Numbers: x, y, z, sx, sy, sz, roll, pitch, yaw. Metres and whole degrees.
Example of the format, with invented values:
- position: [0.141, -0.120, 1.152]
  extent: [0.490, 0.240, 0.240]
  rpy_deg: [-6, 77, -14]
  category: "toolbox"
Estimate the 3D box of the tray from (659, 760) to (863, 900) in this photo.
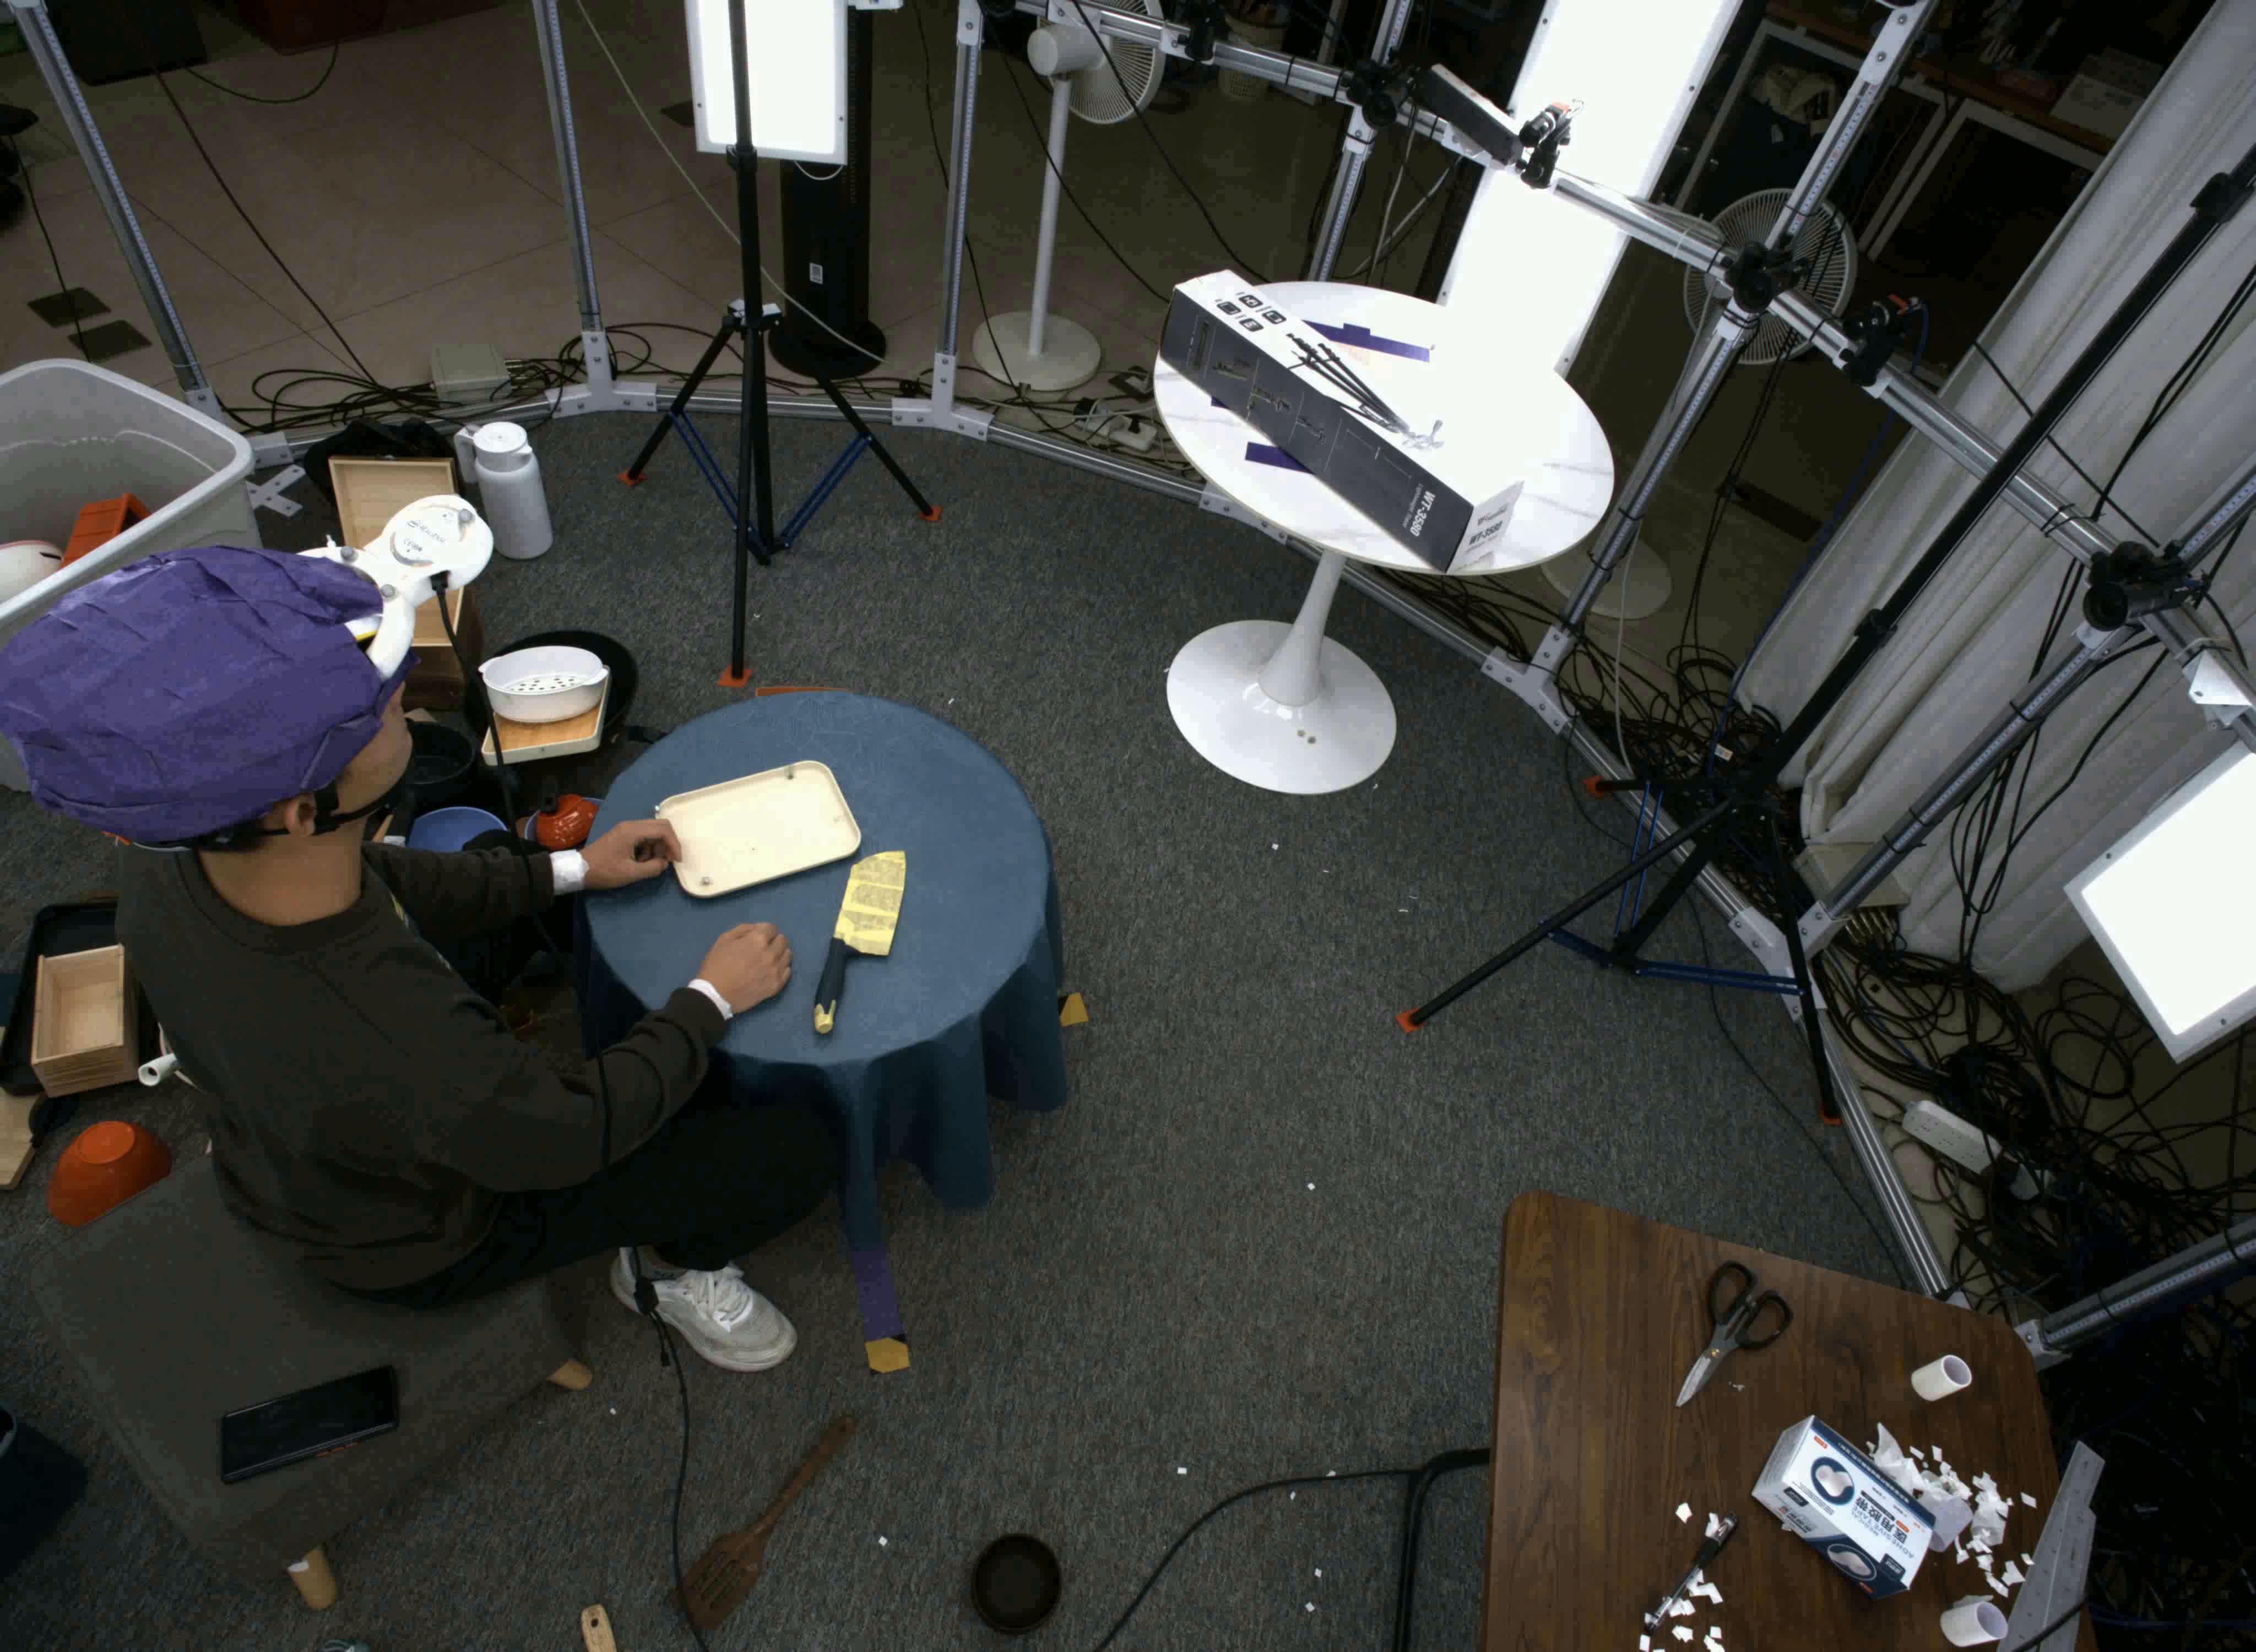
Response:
- position: [-0.484, 0.002, 1.706]
  extent: [0.241, 0.018, 0.167]
  rpy_deg: [-18, 61, -25]
  category: "tray"

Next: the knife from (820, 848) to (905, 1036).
- position: [-0.335, 0.138, 1.646]
  extent: [0.080, 0.028, 0.285]
  rpy_deg: [12, 51, -3]
  category: "knife"
